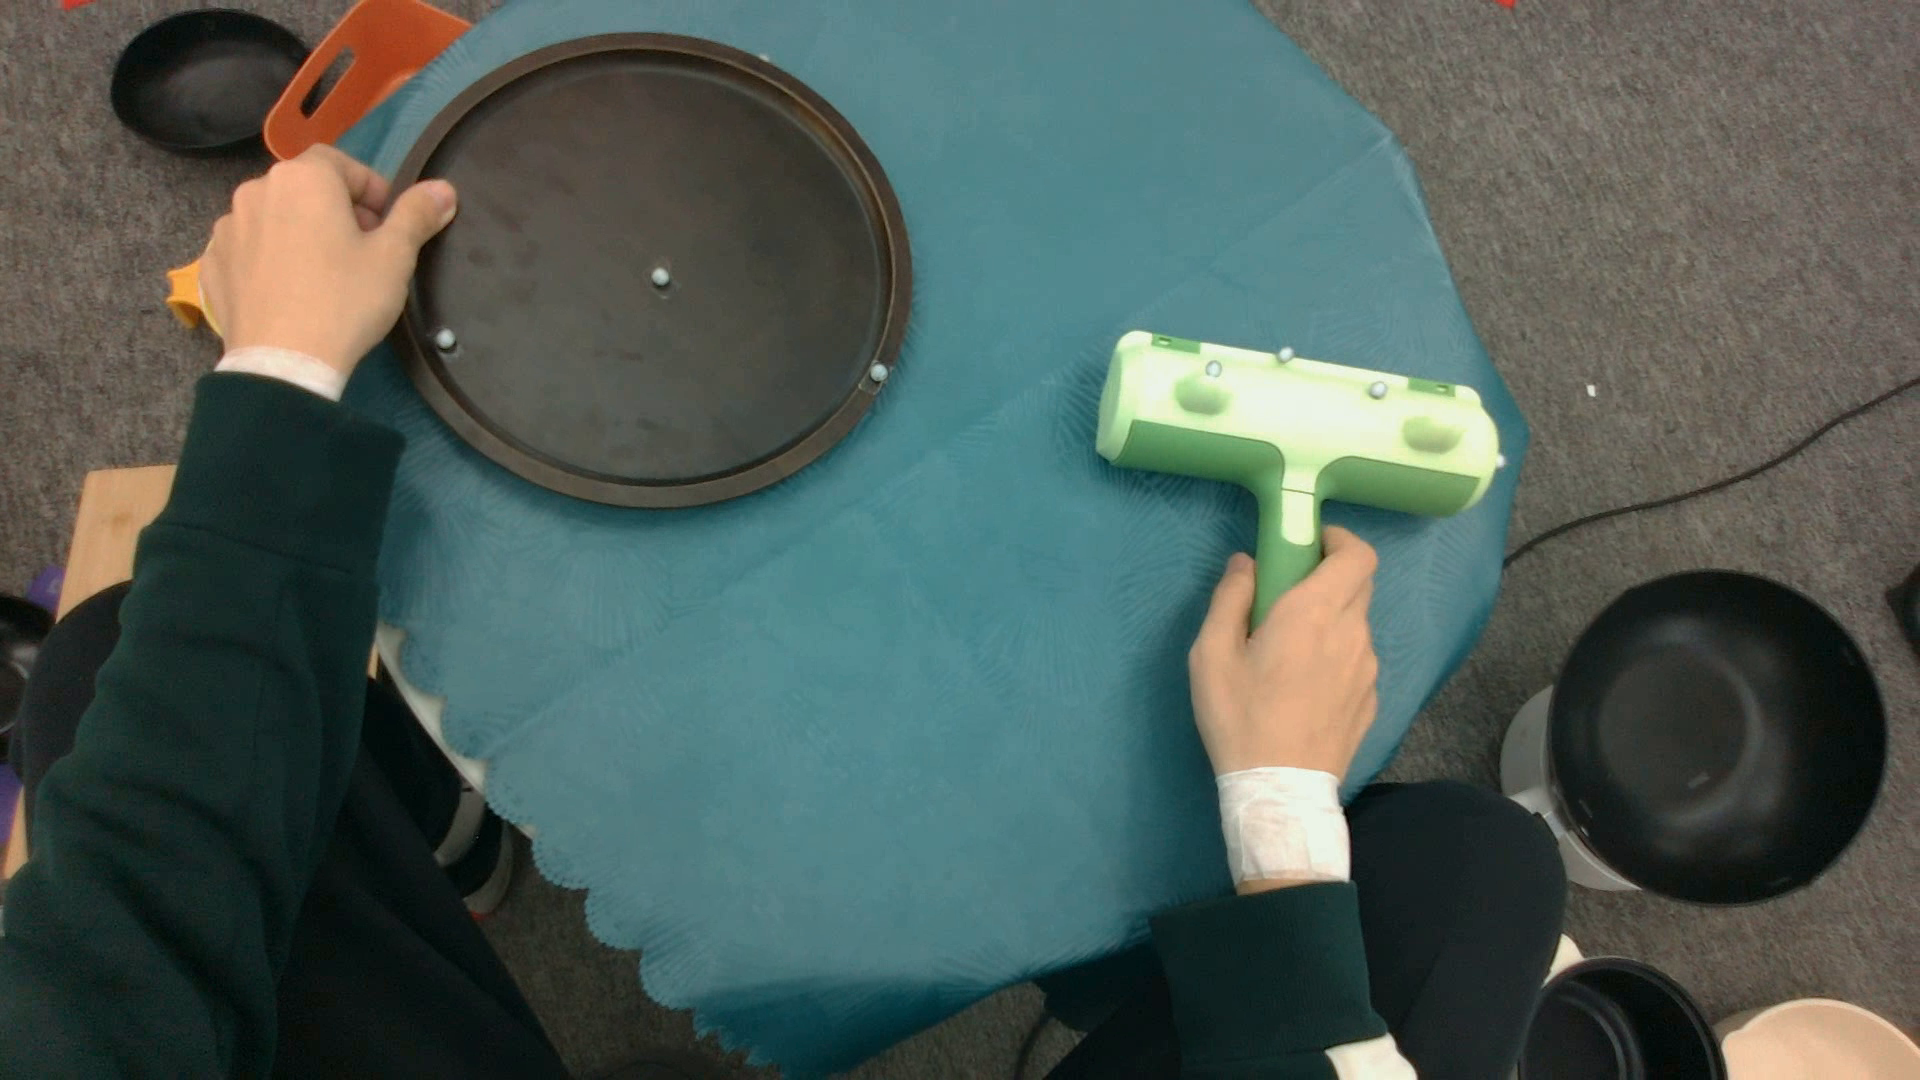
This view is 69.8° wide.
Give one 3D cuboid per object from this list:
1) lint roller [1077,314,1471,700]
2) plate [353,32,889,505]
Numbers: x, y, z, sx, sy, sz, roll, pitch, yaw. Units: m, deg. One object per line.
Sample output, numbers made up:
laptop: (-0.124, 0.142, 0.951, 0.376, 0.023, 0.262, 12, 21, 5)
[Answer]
lint roller: (0.157, -0.020, 0.667, 0.199, 0.082, 0.184, 8, 62, -8)
plate: (-0.161, -0.136, 0.676, 0.255, 0.029, 0.255, 4, 73, -12)
